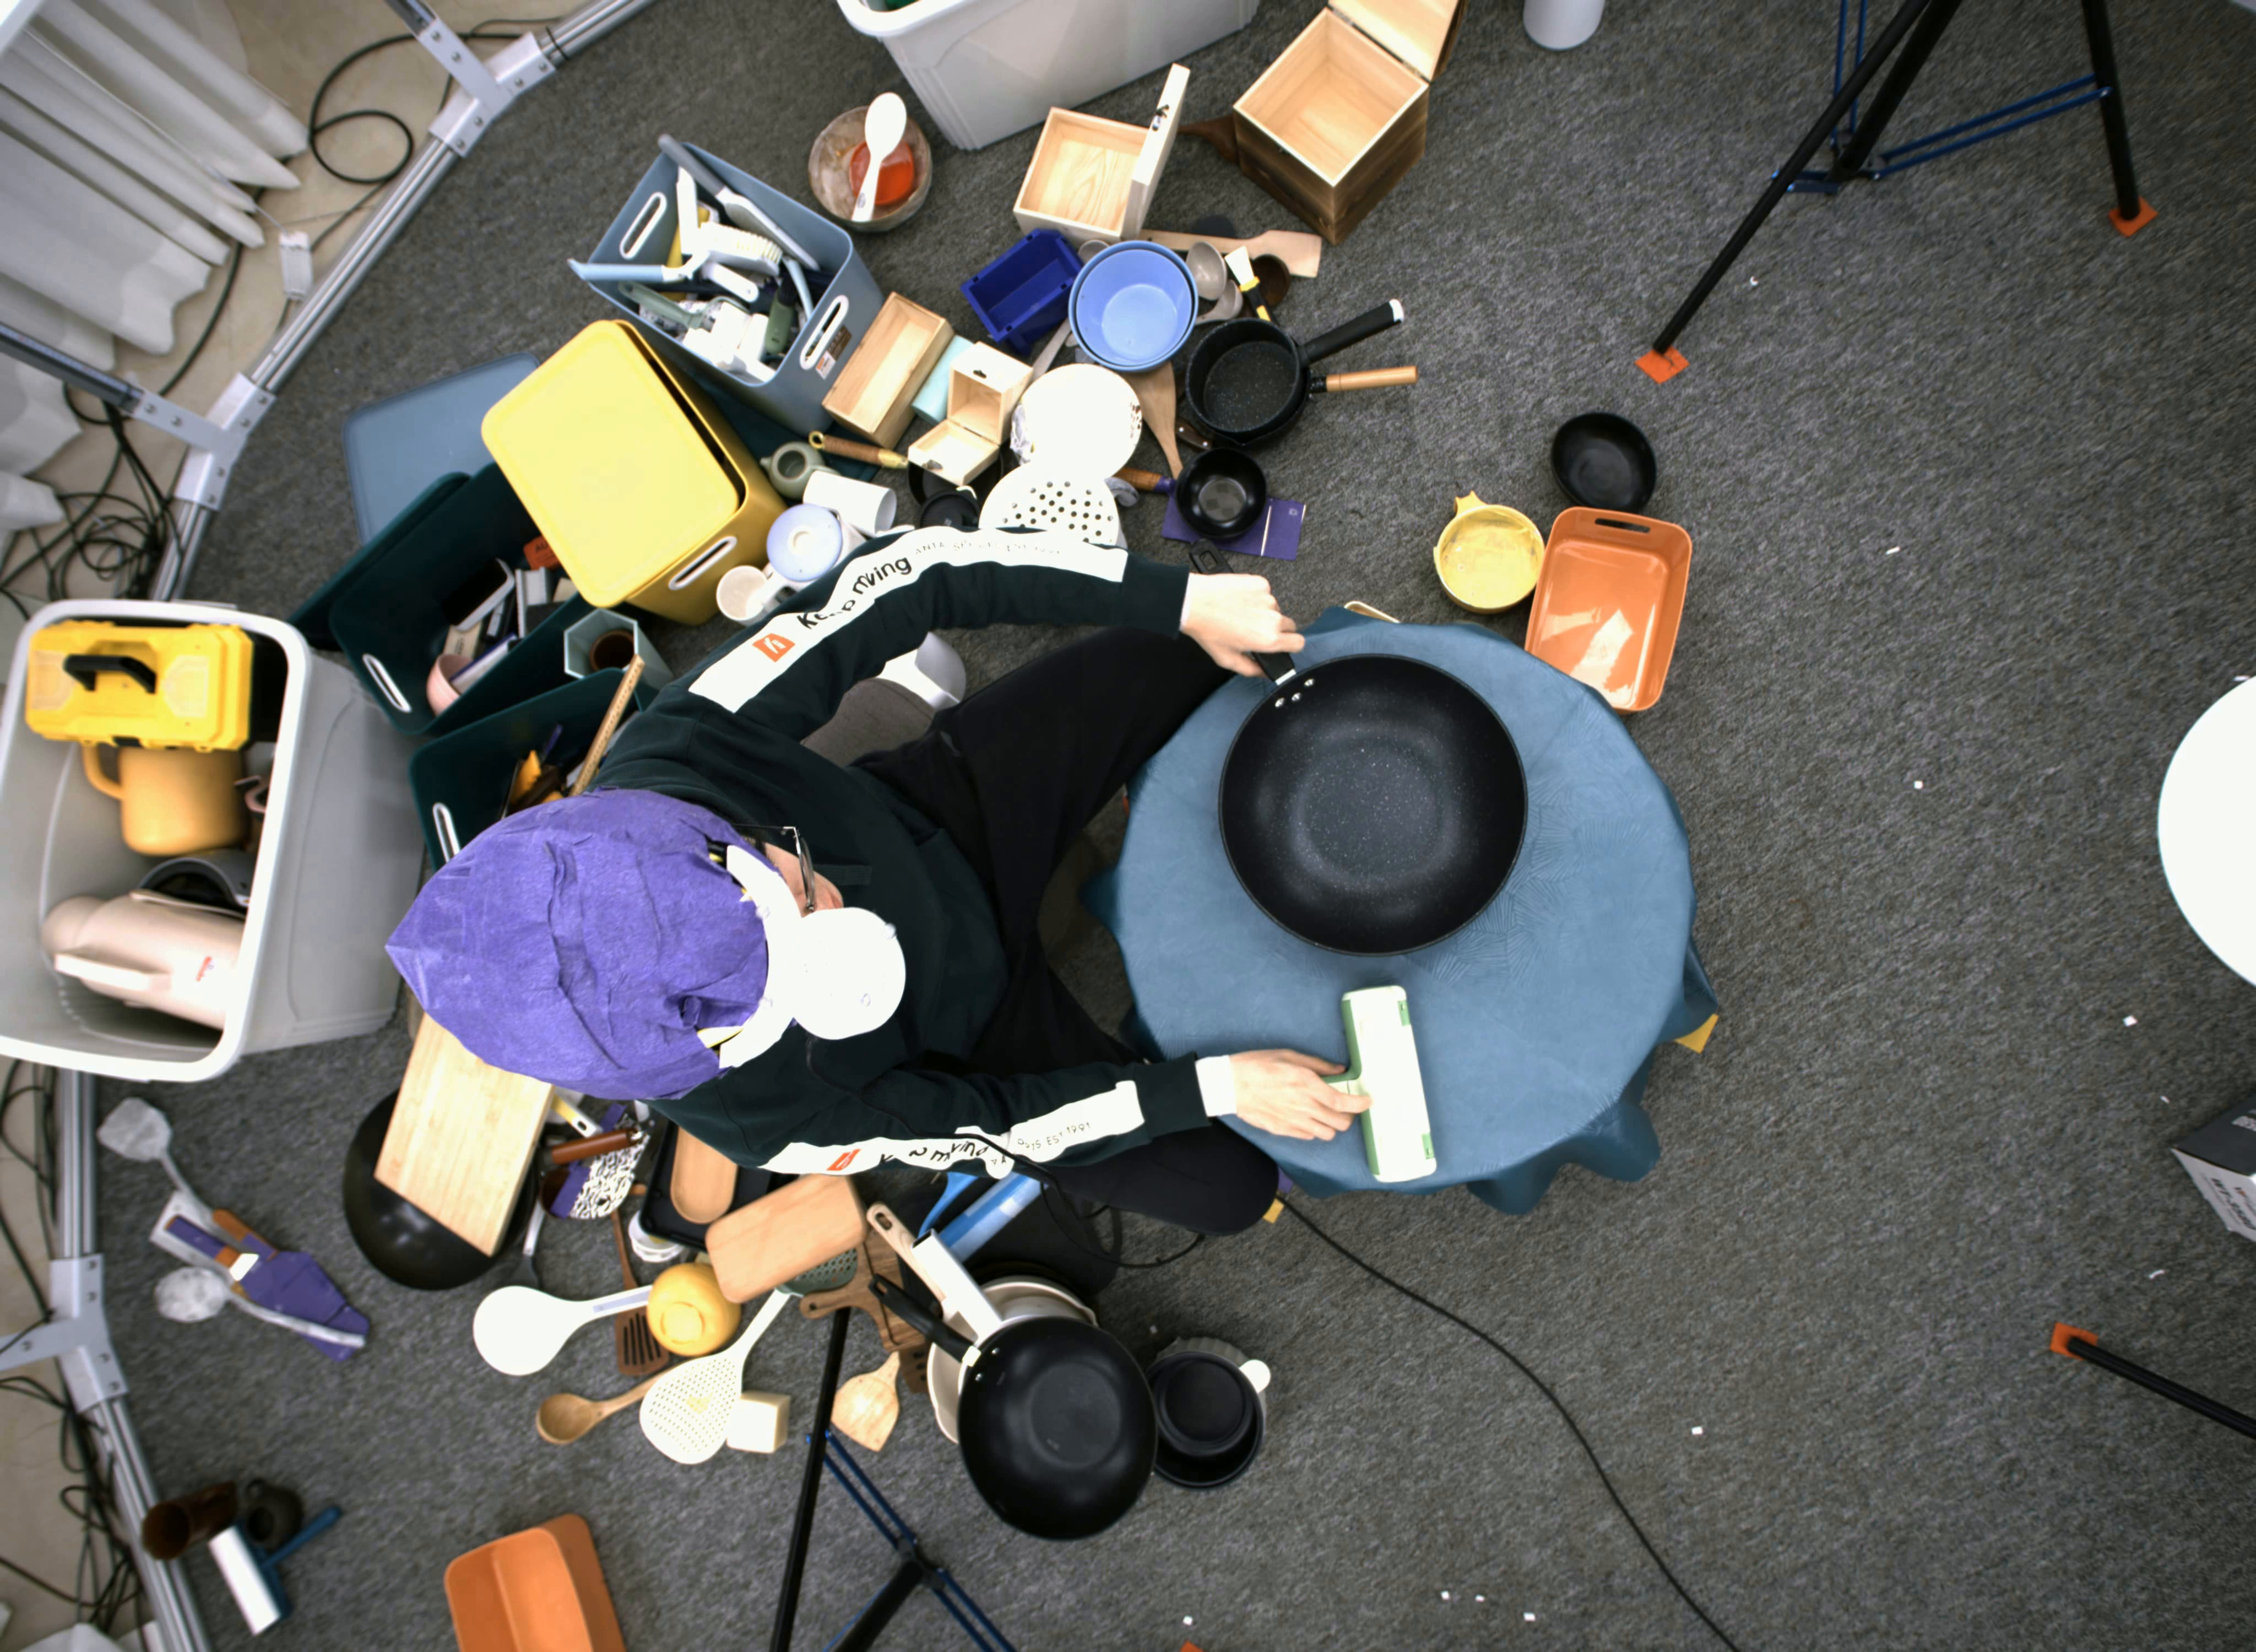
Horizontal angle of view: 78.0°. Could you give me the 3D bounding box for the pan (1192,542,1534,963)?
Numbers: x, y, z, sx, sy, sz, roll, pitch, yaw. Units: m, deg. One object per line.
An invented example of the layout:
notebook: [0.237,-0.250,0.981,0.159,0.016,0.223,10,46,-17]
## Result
pan: [0.208,-0.085,1.421,0.311,0.112,0.474,-34,83,5]

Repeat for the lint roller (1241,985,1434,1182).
lint roller: [0.207,0.270,1.419,0.184,0.082,0.197,-9,85,4]
